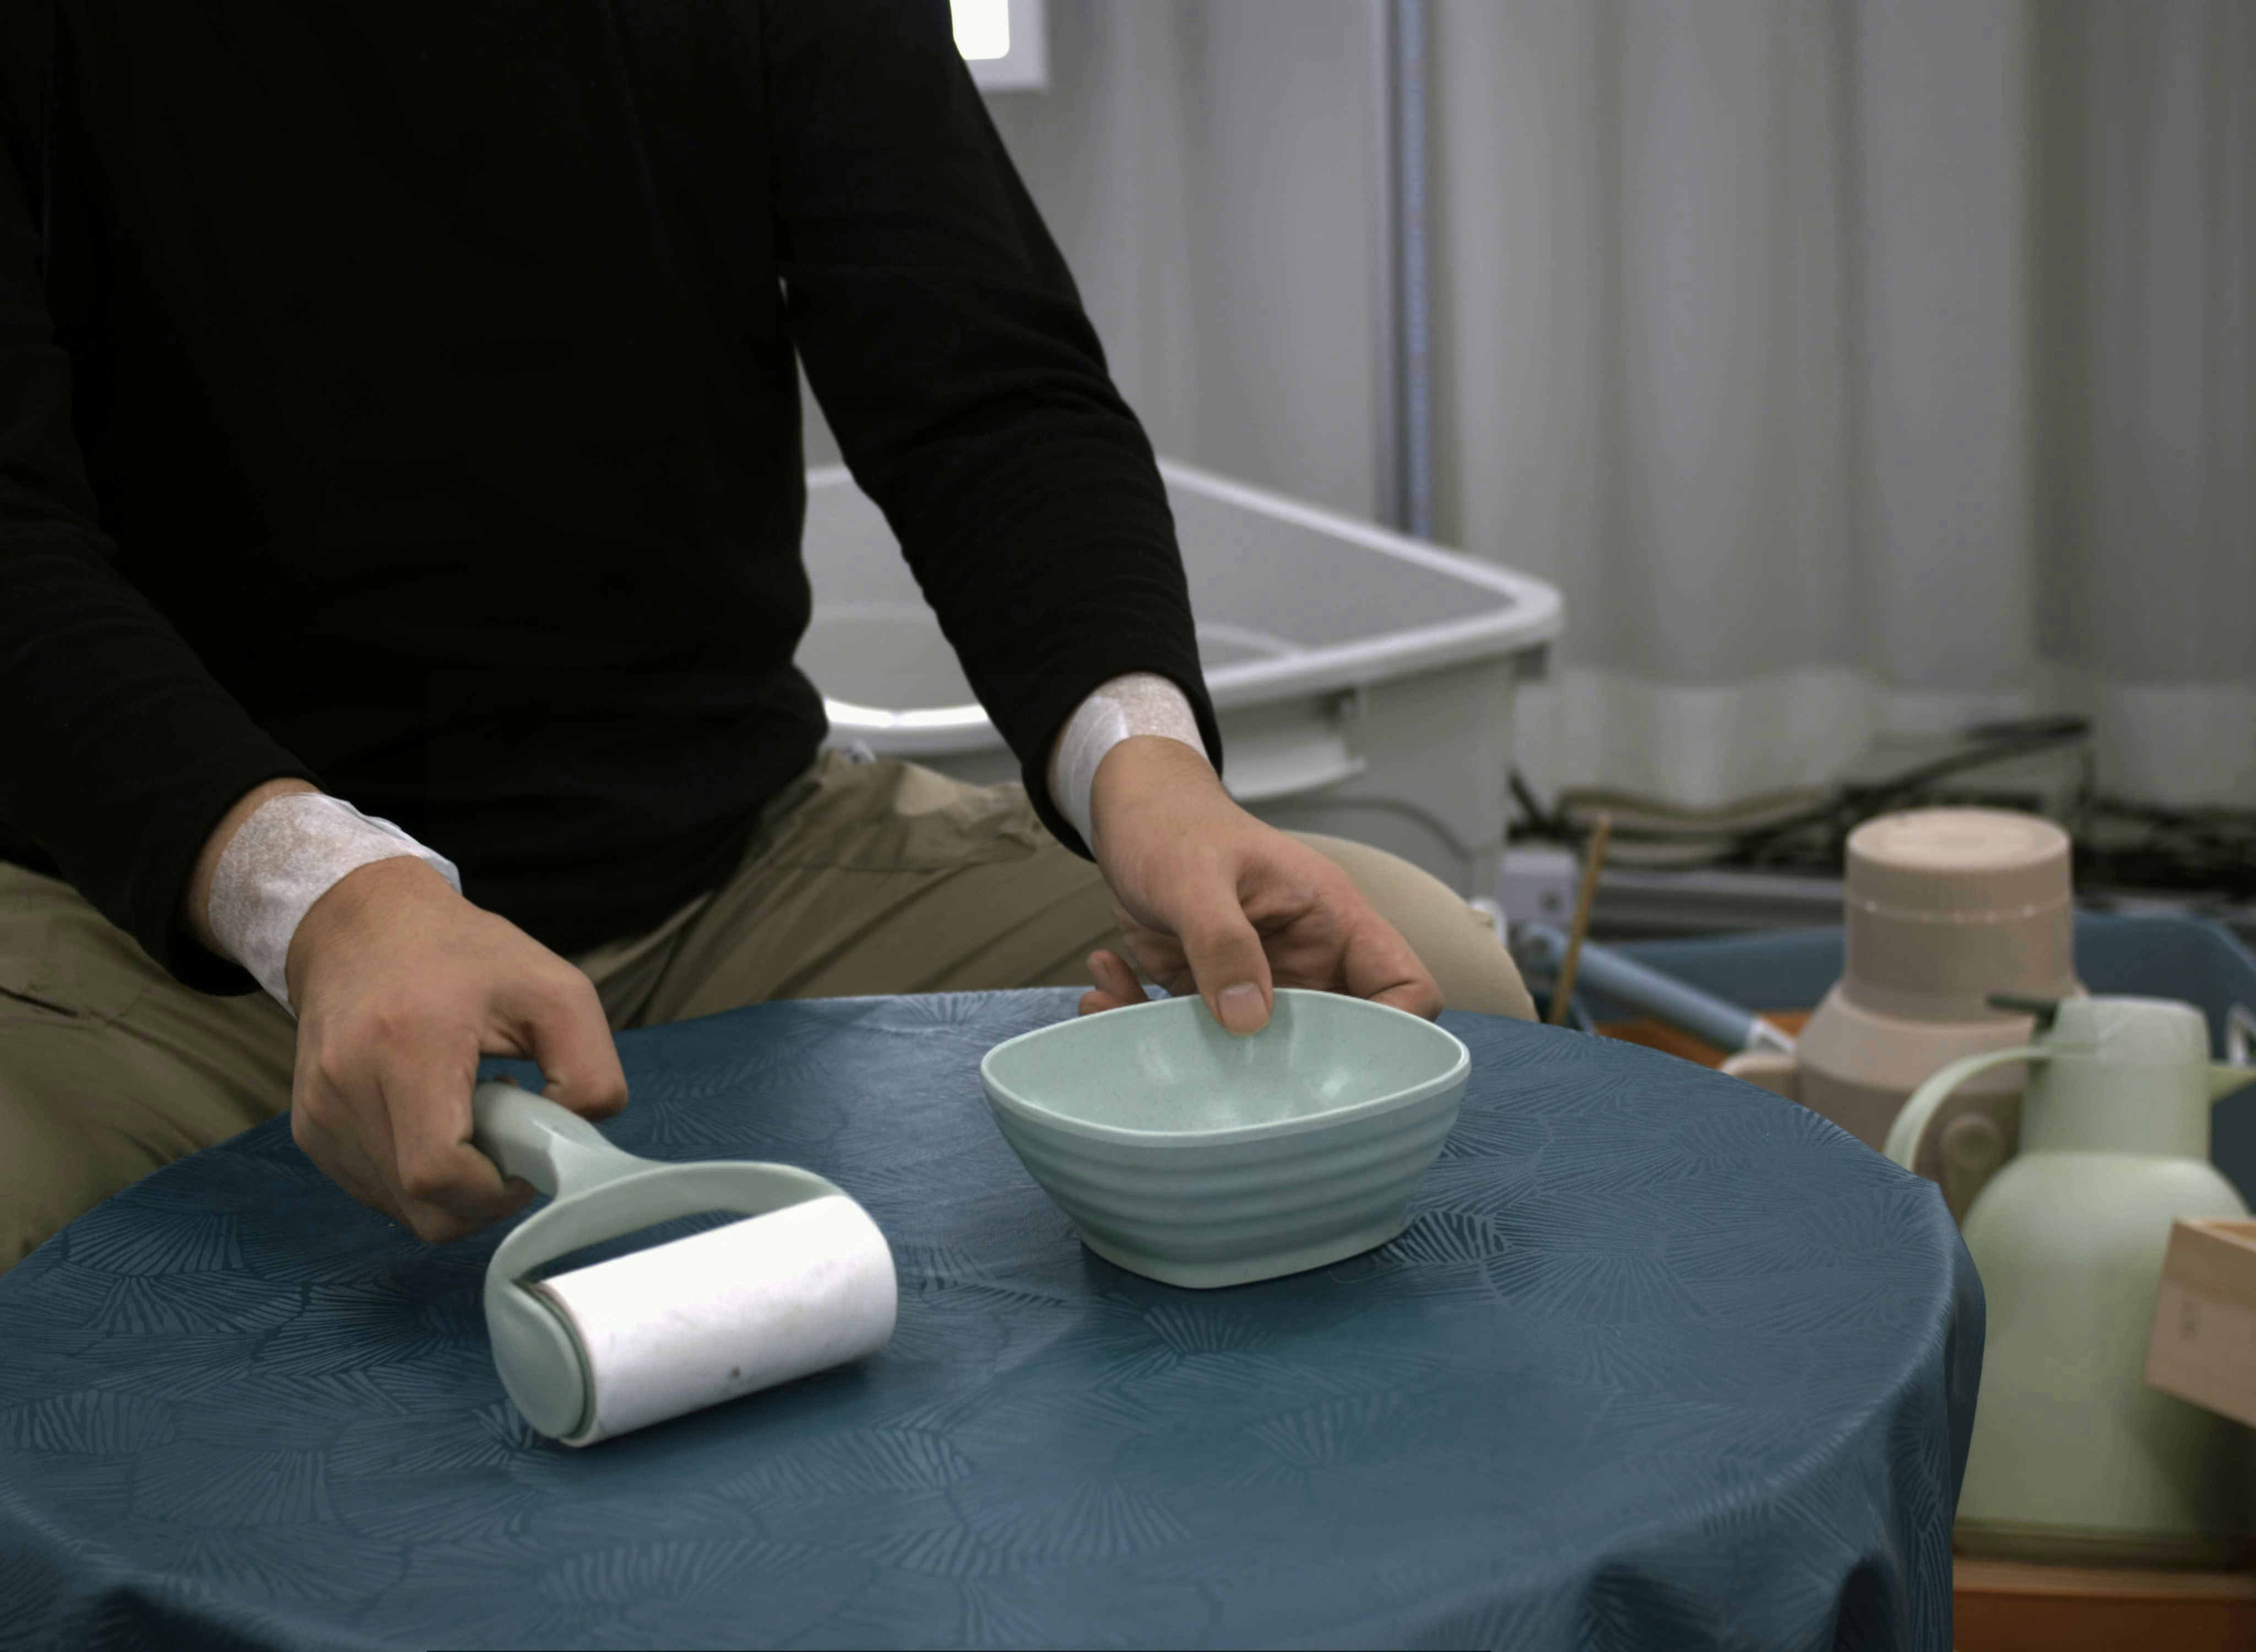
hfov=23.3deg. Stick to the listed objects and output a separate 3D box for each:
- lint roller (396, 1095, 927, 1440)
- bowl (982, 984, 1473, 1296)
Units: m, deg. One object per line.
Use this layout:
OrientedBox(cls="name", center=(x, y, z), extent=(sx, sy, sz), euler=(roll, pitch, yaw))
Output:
OrientedBox(cls="lint roller", center=(-0.155, 0.111, 1.603), extent=(0.116, 0.048, 0.199), euler=(-16, 31, -33))
OrientedBox(cls="bowl", center=(0.031, 0.098, 1.660), extent=(0.151, 0.058, 0.152), euler=(-3, 16, 1))
